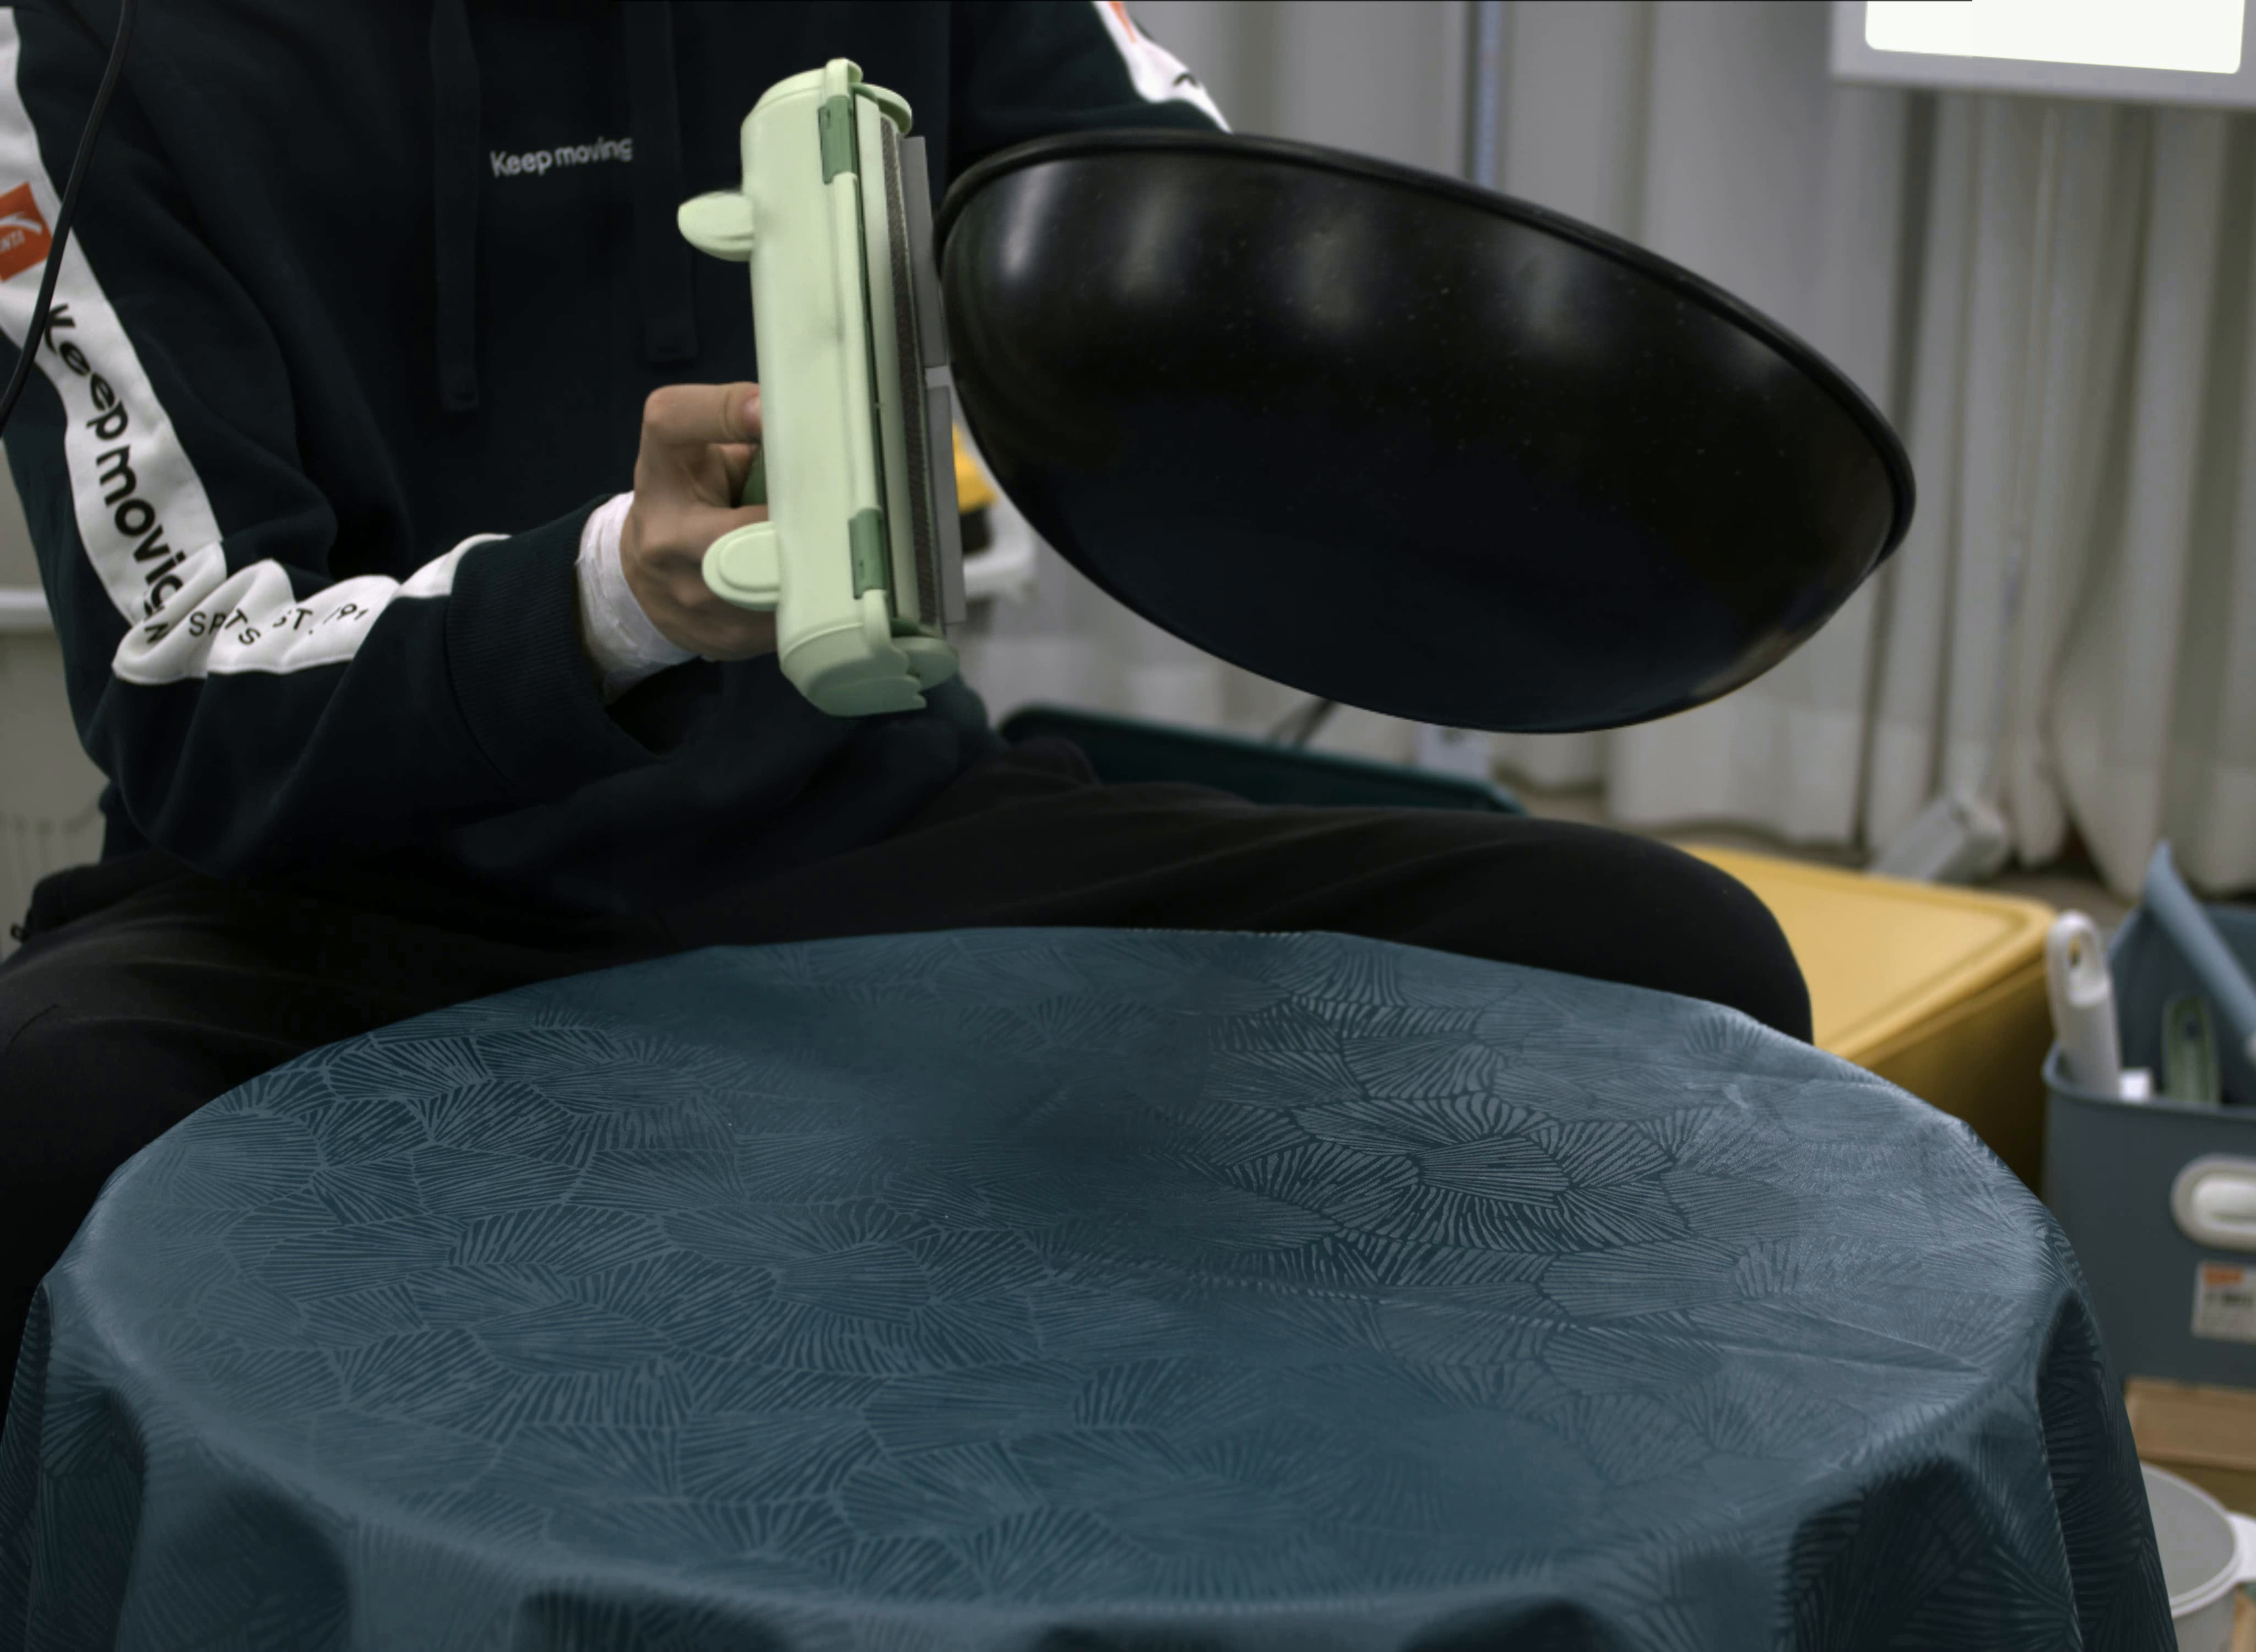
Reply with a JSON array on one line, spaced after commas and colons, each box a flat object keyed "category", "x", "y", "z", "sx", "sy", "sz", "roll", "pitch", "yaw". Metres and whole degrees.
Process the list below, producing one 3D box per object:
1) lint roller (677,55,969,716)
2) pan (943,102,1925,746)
[{"category": "lint roller", "x": -0.112, "y": -0.114, "z": 1.638, "sx": 0.082, "sy": 0.198, "sz": 0.183, "roll": 2, "pitch": -20, "yaw": -25}, {"category": "pan", "x": 0.077, "y": -0.088, "z": 1.651, "sx": 0.309, "sy": 0.111, "sz": 0.479, "roll": 20, "pitch": -15, "yaw": 2}]
